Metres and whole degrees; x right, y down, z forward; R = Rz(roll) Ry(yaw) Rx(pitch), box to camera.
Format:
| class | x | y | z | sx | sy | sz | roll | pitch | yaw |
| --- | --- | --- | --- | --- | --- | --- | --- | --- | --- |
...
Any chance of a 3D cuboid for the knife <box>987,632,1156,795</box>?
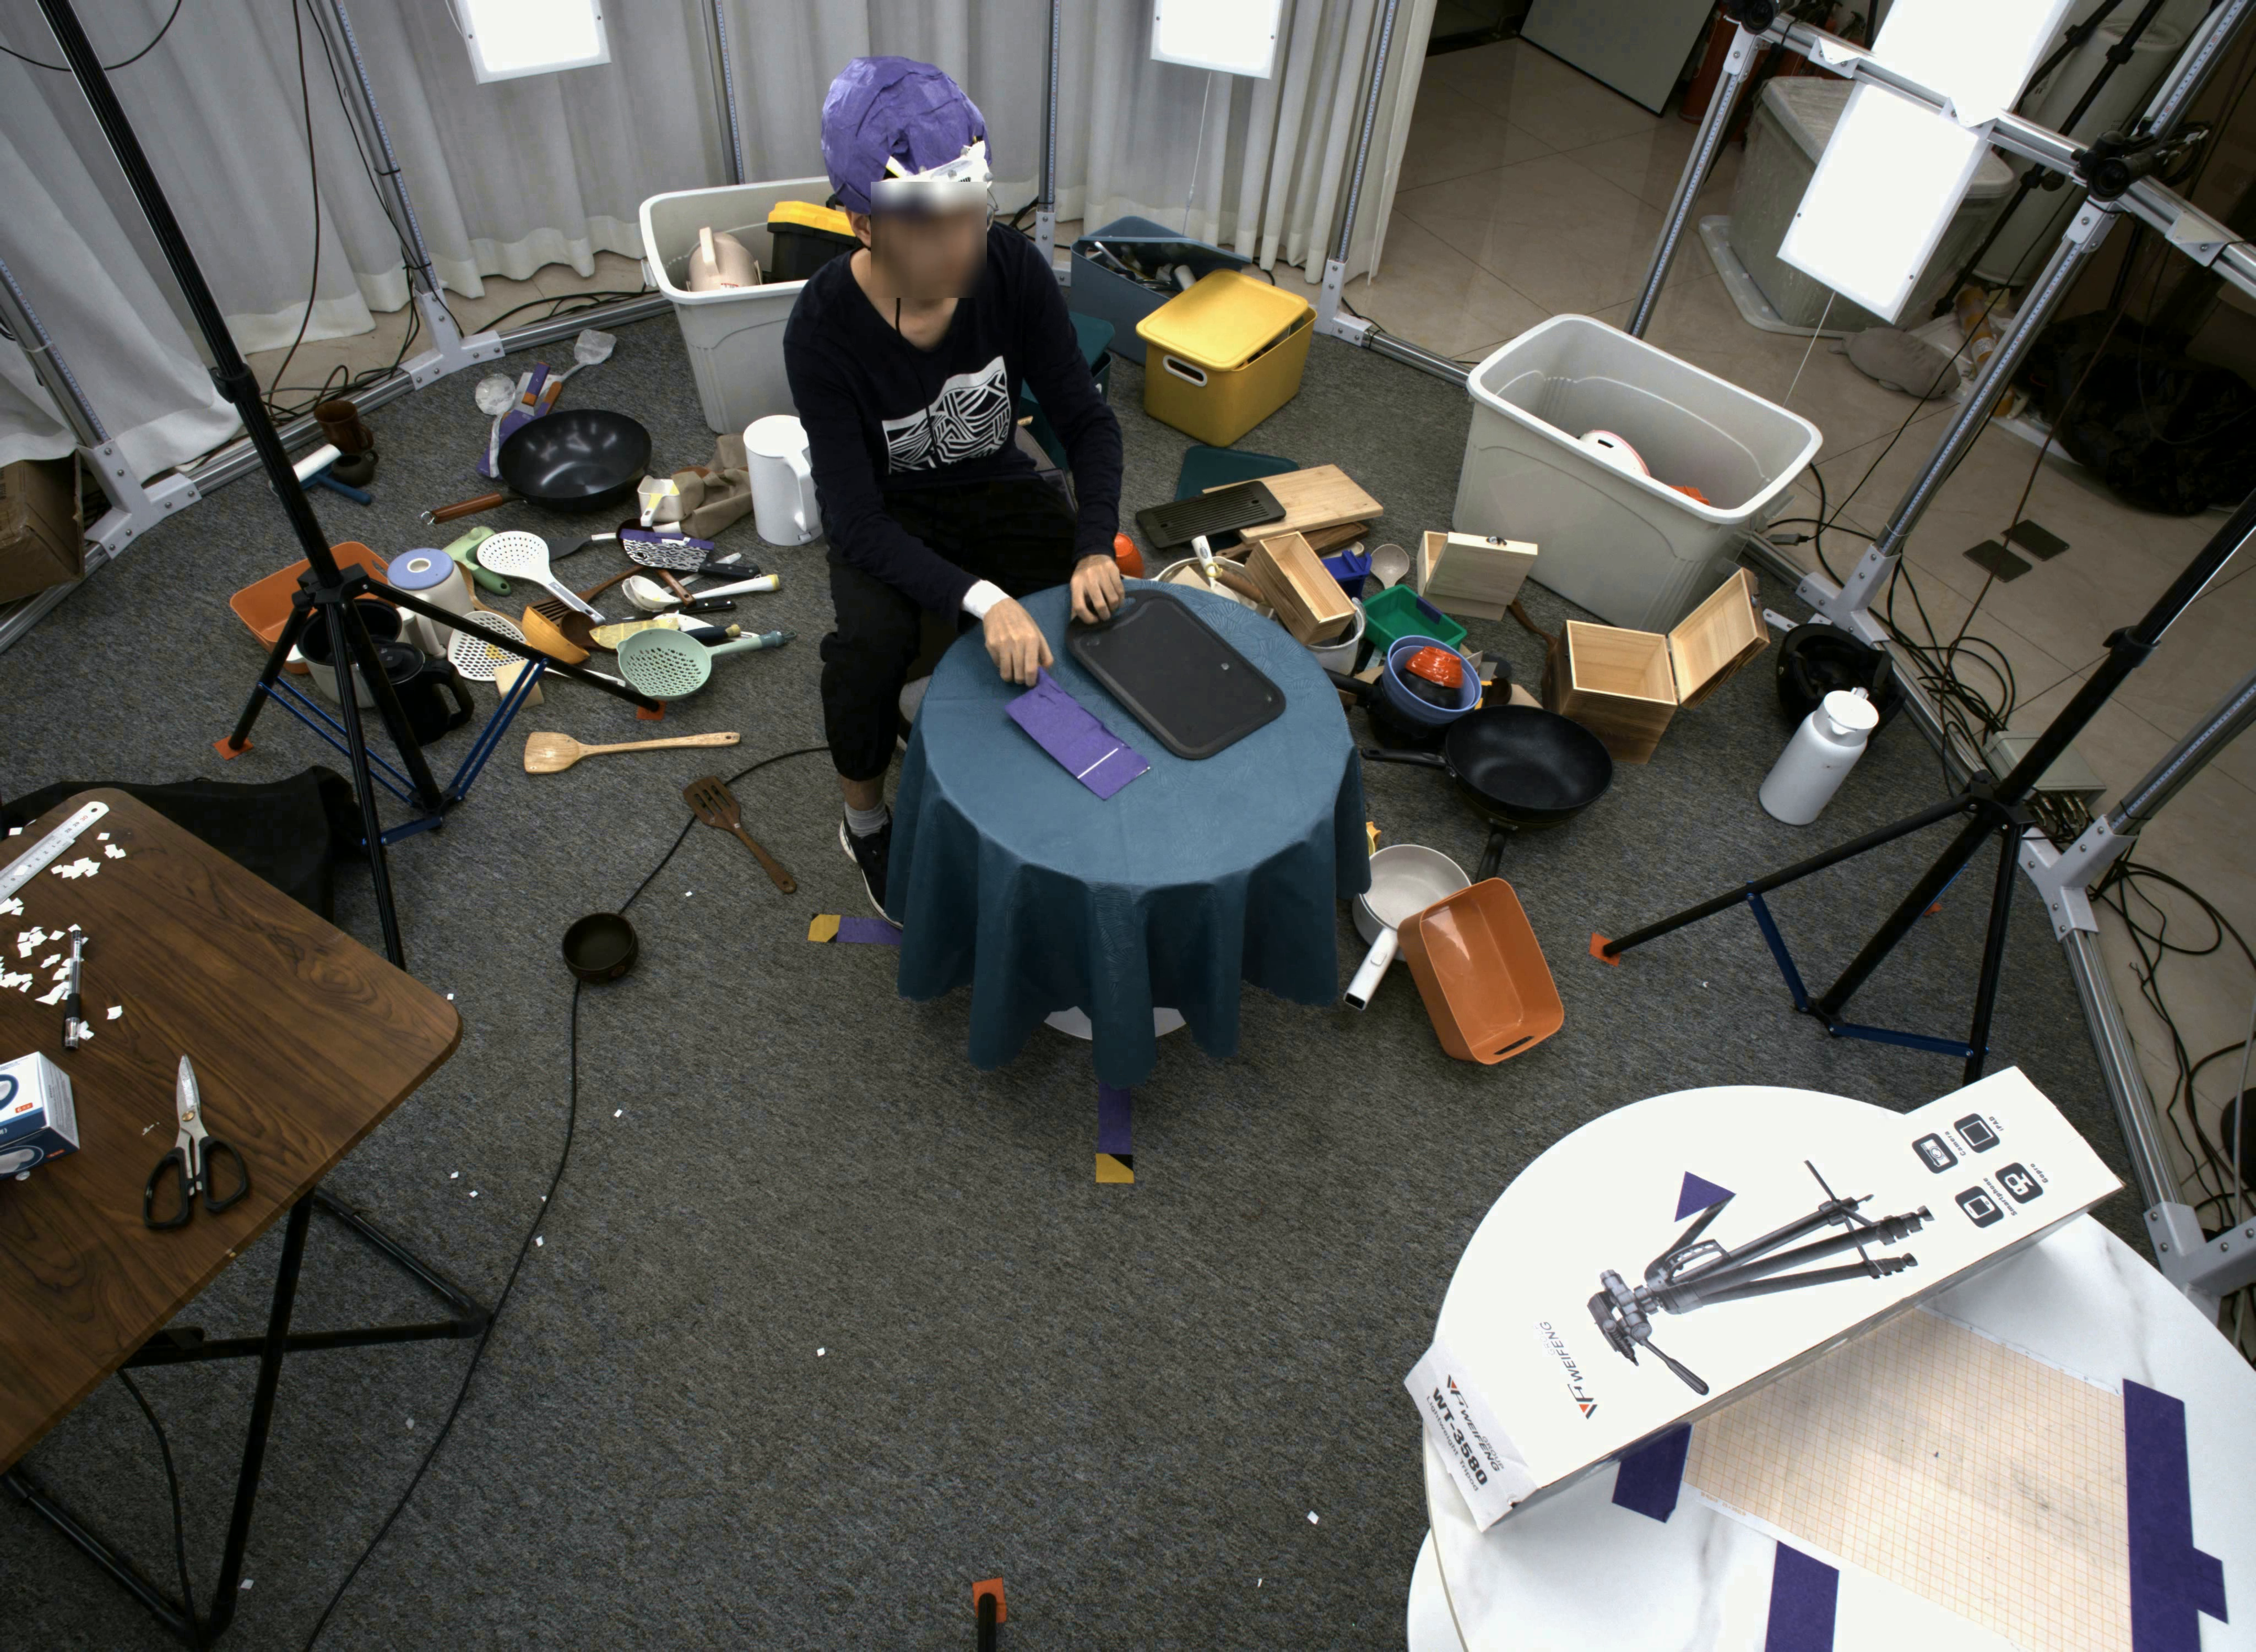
| class | x | y | z | sx | sy | sz | roll | pitch | yaw |
| --- | --- | --- | --- | --- | --- | --- | --- | --- | --- |
| knife | -0.105 | -0.158 | 1.773 | 0.105 | 0.031 | 0.320 | -35 | 62 | -29 |

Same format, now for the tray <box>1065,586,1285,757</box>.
| class | x | y | z | sx | sy | sz | roll | pitch | yaw |
| --- | --- | --- | --- | --- | --- | --- | --- | --- | --- |
| tray | 0.061 | -0.235 | 1.857 | 0.212 | 0.009 | 0.331 | -29 | 61 | -27 |
